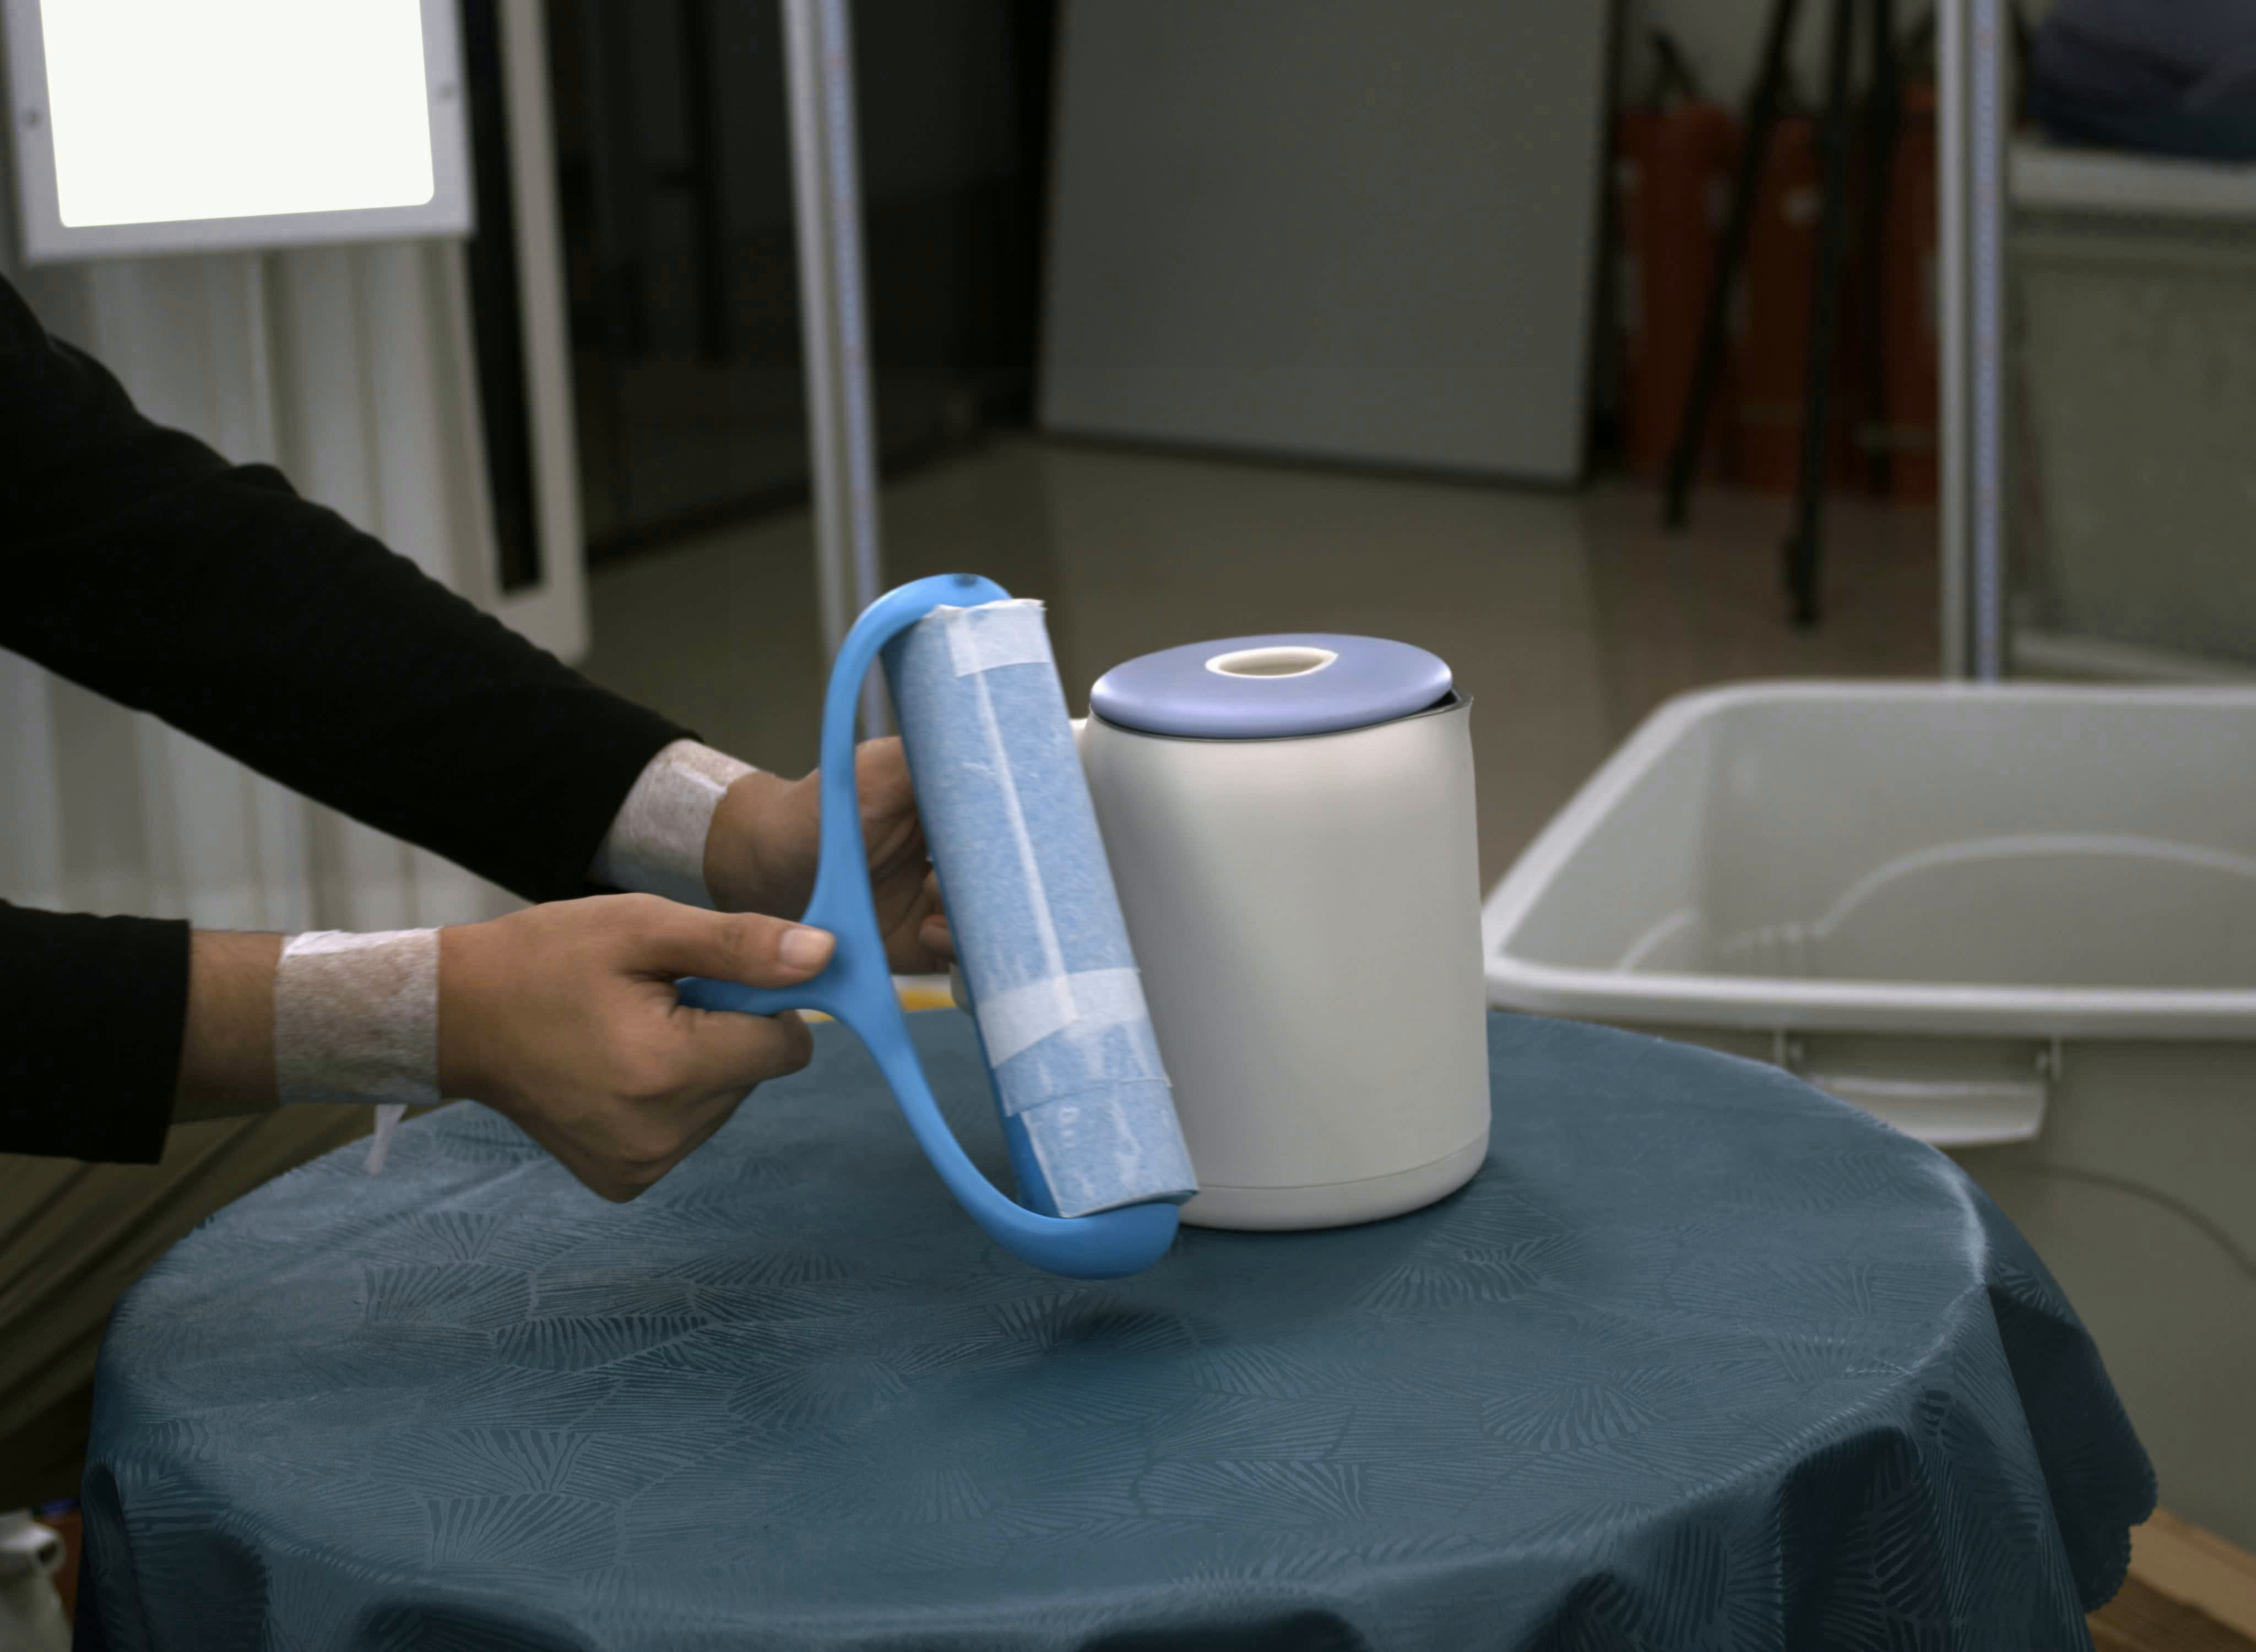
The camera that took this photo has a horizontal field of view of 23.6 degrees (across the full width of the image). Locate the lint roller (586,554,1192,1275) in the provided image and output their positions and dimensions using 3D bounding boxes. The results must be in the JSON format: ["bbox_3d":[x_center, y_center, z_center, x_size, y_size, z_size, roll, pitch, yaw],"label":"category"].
[{"bbox_3d":[-0.087,0.045,1.662,0.179,0.232,0.067,-19,-12,4],"label":"lint roller"}]

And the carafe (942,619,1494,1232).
[{"bbox_3d":[0.028,0.032,1.762,0.191,0.184,0.131,-1,13,21],"label":"carafe"}]
